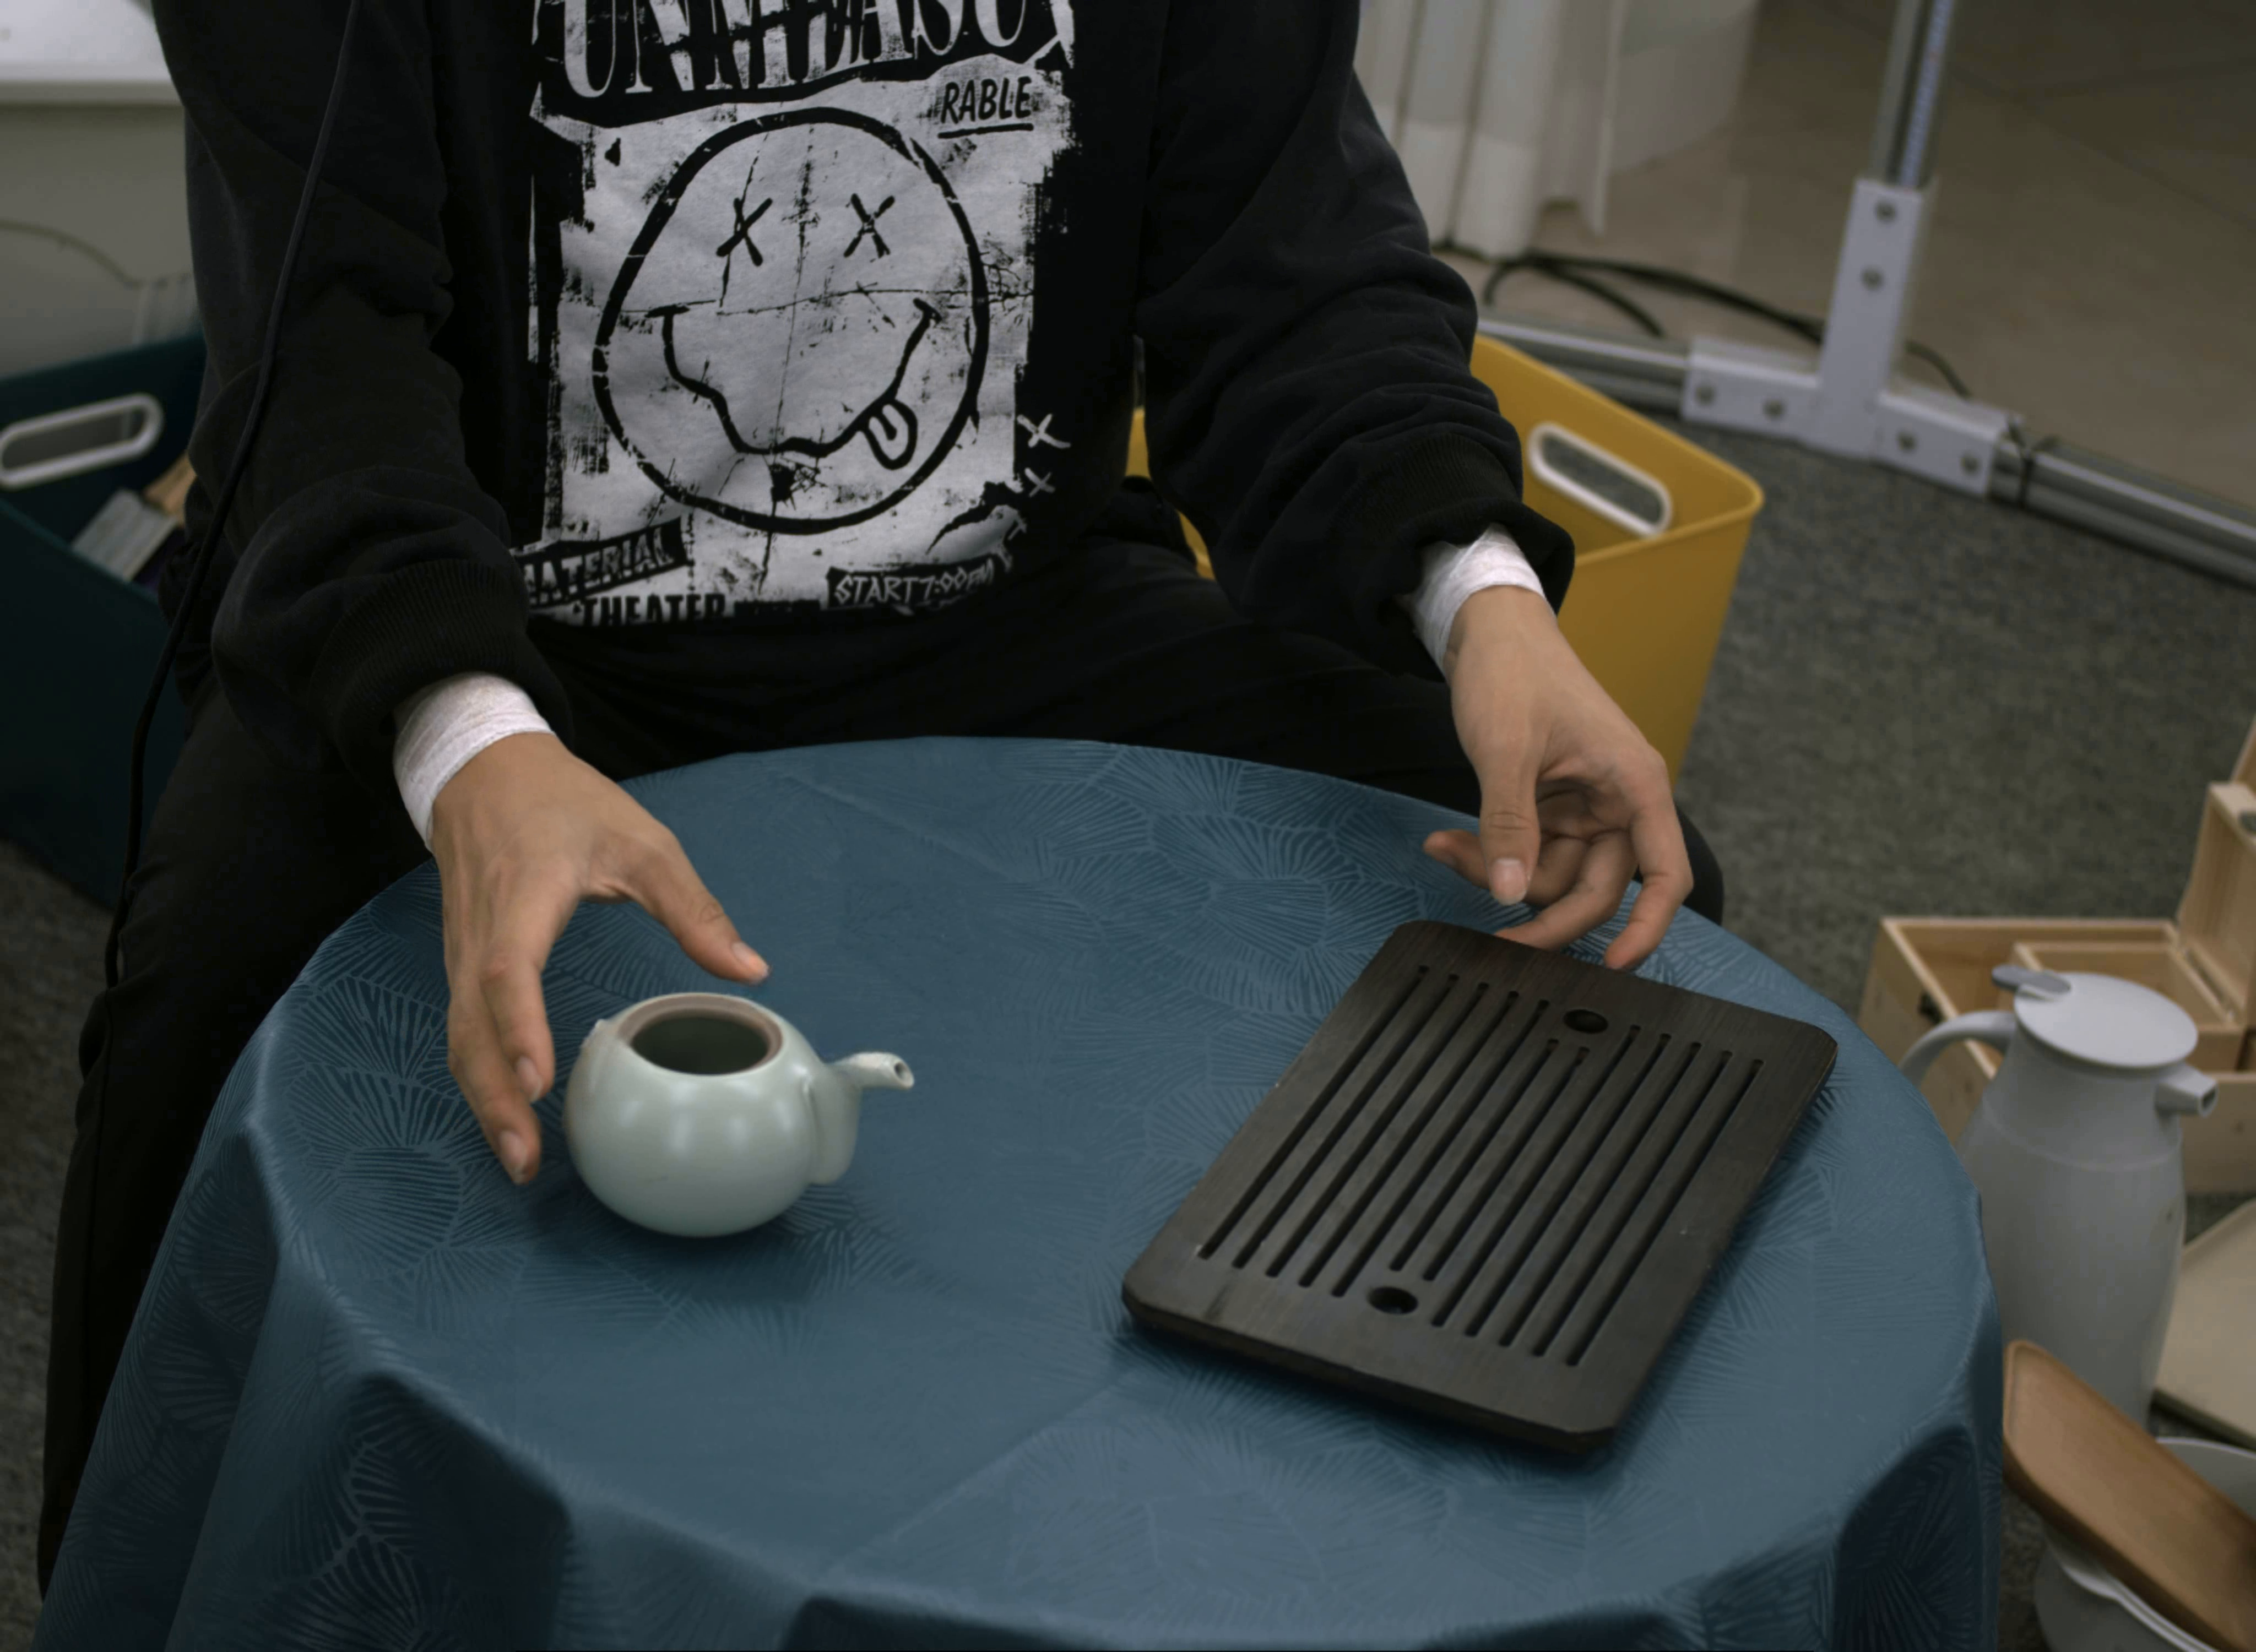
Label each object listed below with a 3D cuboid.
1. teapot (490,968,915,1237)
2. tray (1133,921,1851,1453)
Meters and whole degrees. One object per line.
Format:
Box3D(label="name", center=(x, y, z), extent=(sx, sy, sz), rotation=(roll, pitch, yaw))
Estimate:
Box3D(label="teapot", center=(-0.142, 0.093, 1.752), extent=(0.144, 0.074, 0.088), rotation=(14, 27, 11))
Box3D(label="tray", center=(0.130, 0.120, 1.821), extent=(0.170, 0.018, 0.306), rotation=(15, 28, 17))
